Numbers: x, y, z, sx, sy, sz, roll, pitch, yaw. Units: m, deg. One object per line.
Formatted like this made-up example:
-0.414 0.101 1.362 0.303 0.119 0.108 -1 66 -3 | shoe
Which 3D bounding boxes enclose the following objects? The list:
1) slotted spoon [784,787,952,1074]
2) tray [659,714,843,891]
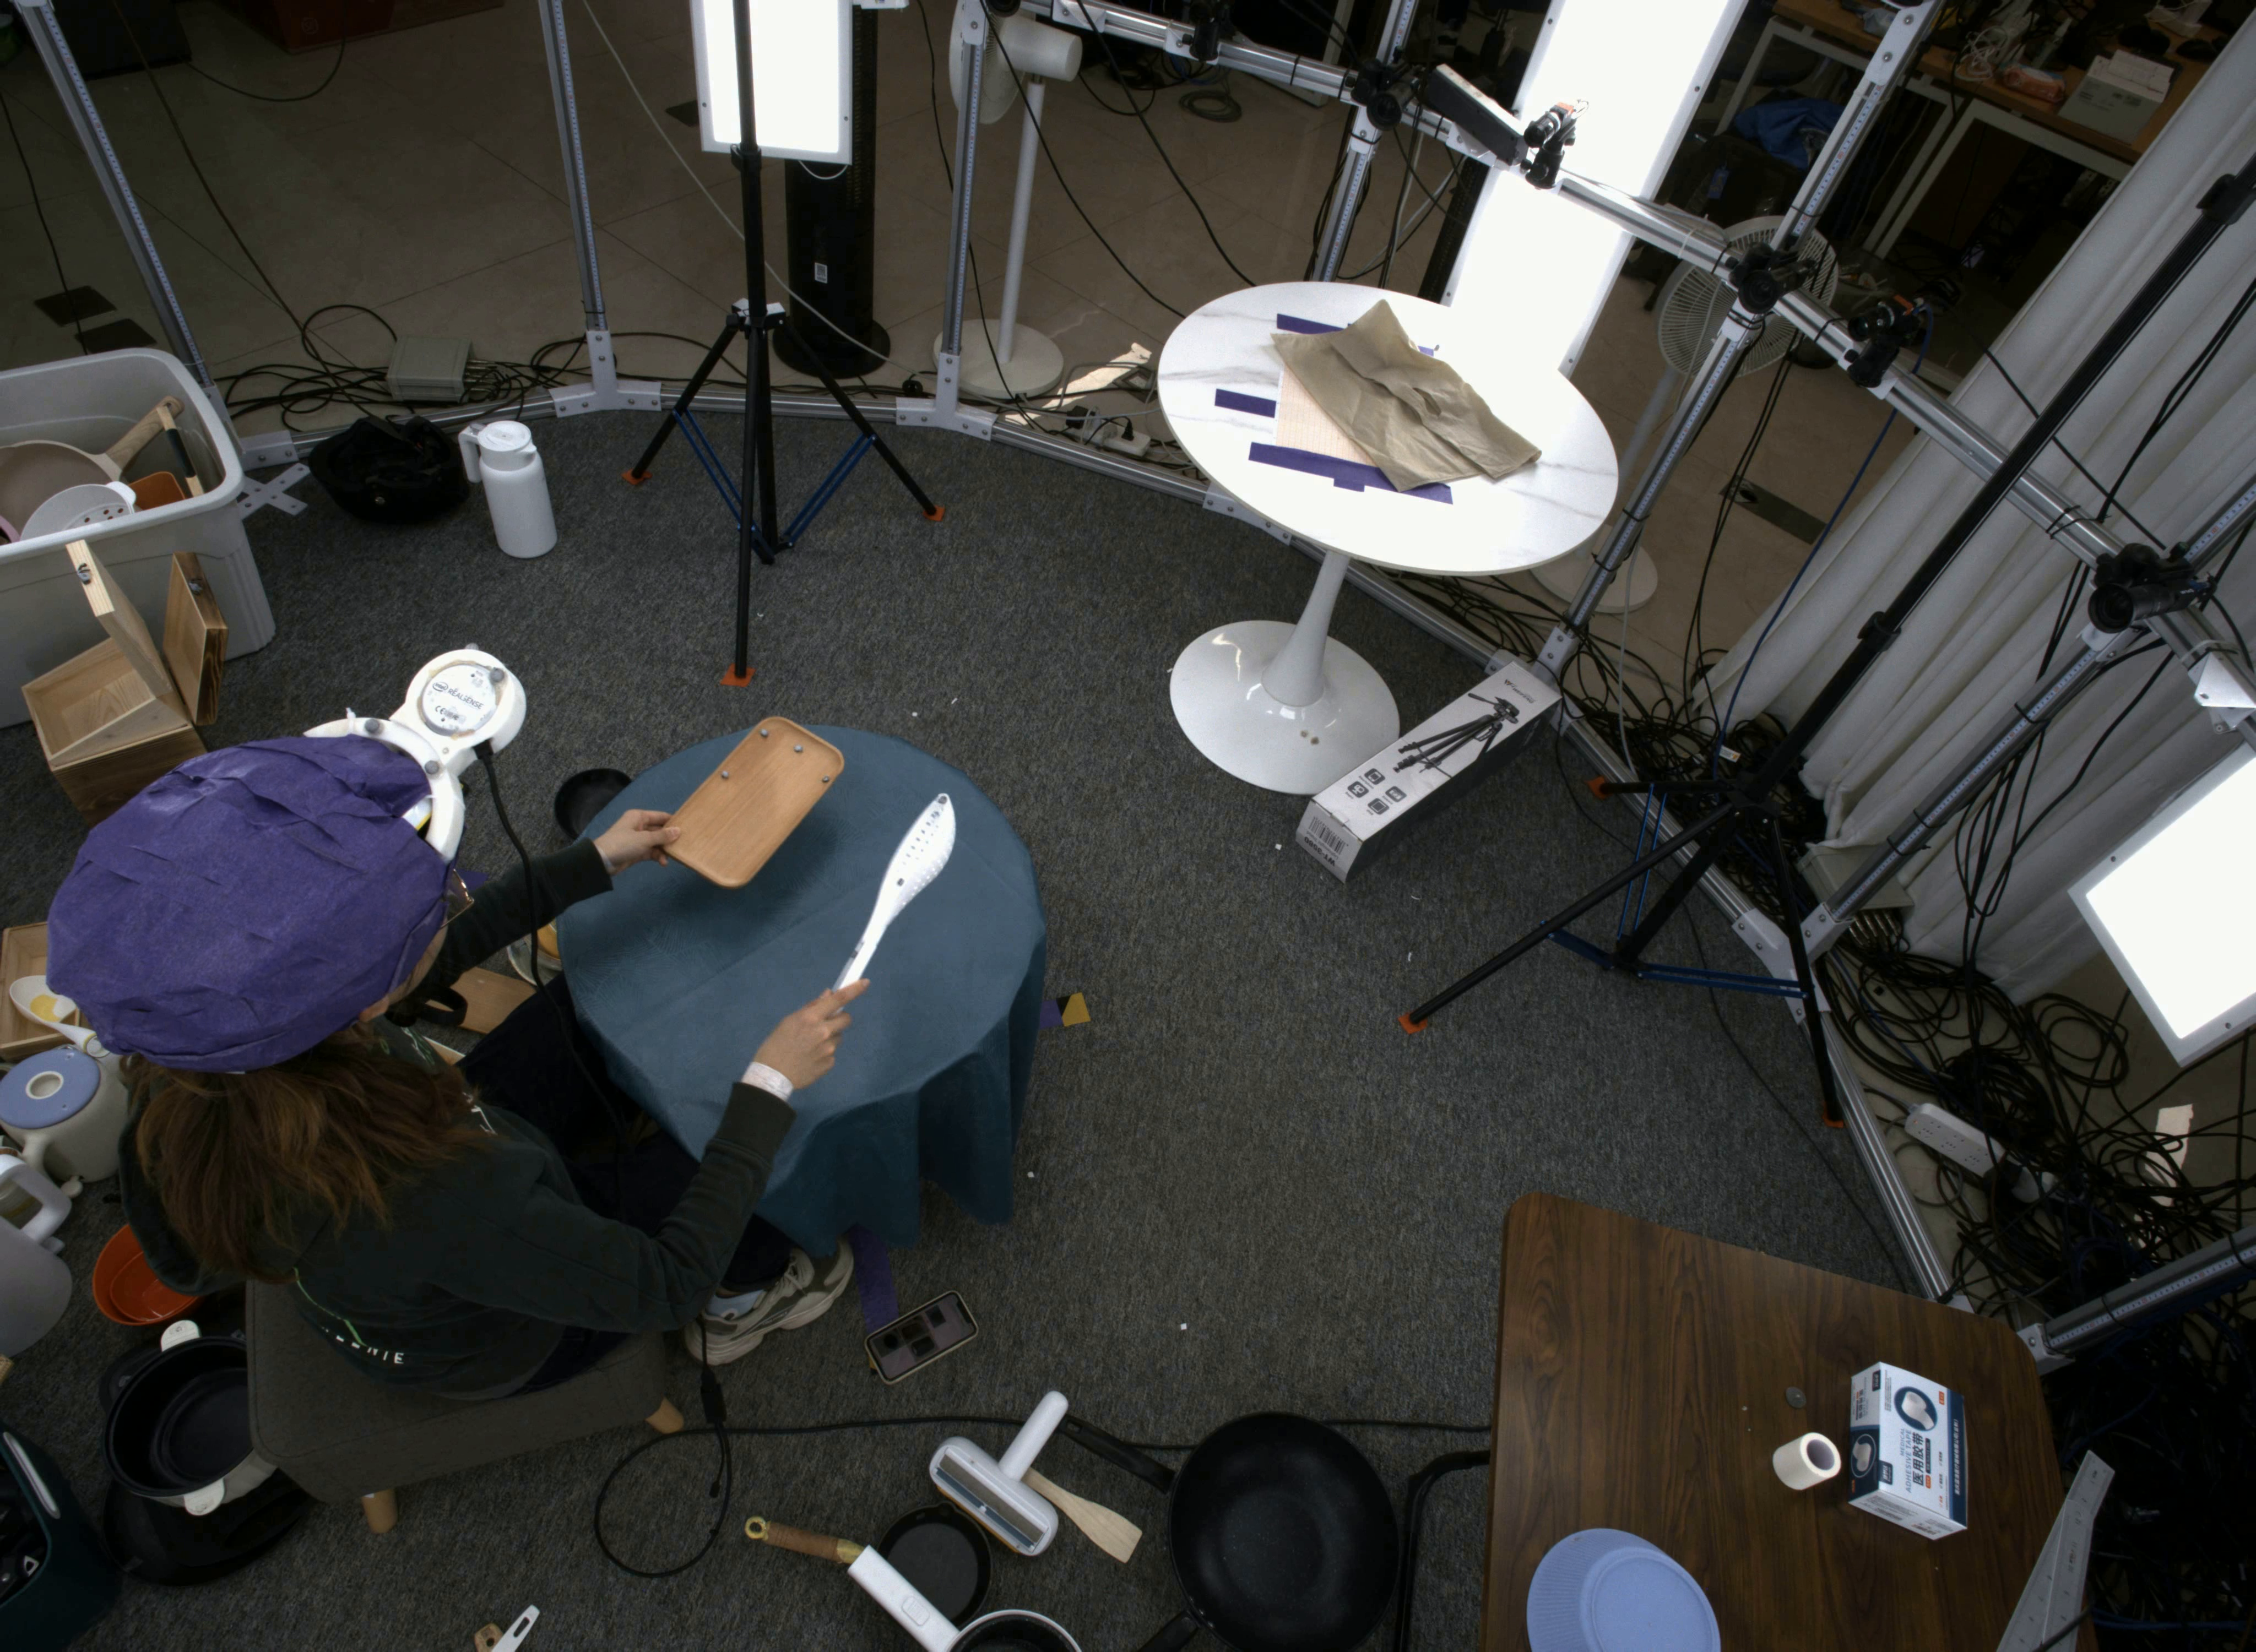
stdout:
-0.285 0.110 1.433 0.047 0.133 0.349 38 70 -19 | slotted spoon
-0.469 -0.033 1.620 0.129 0.023 0.249 30 56 3 | tray
